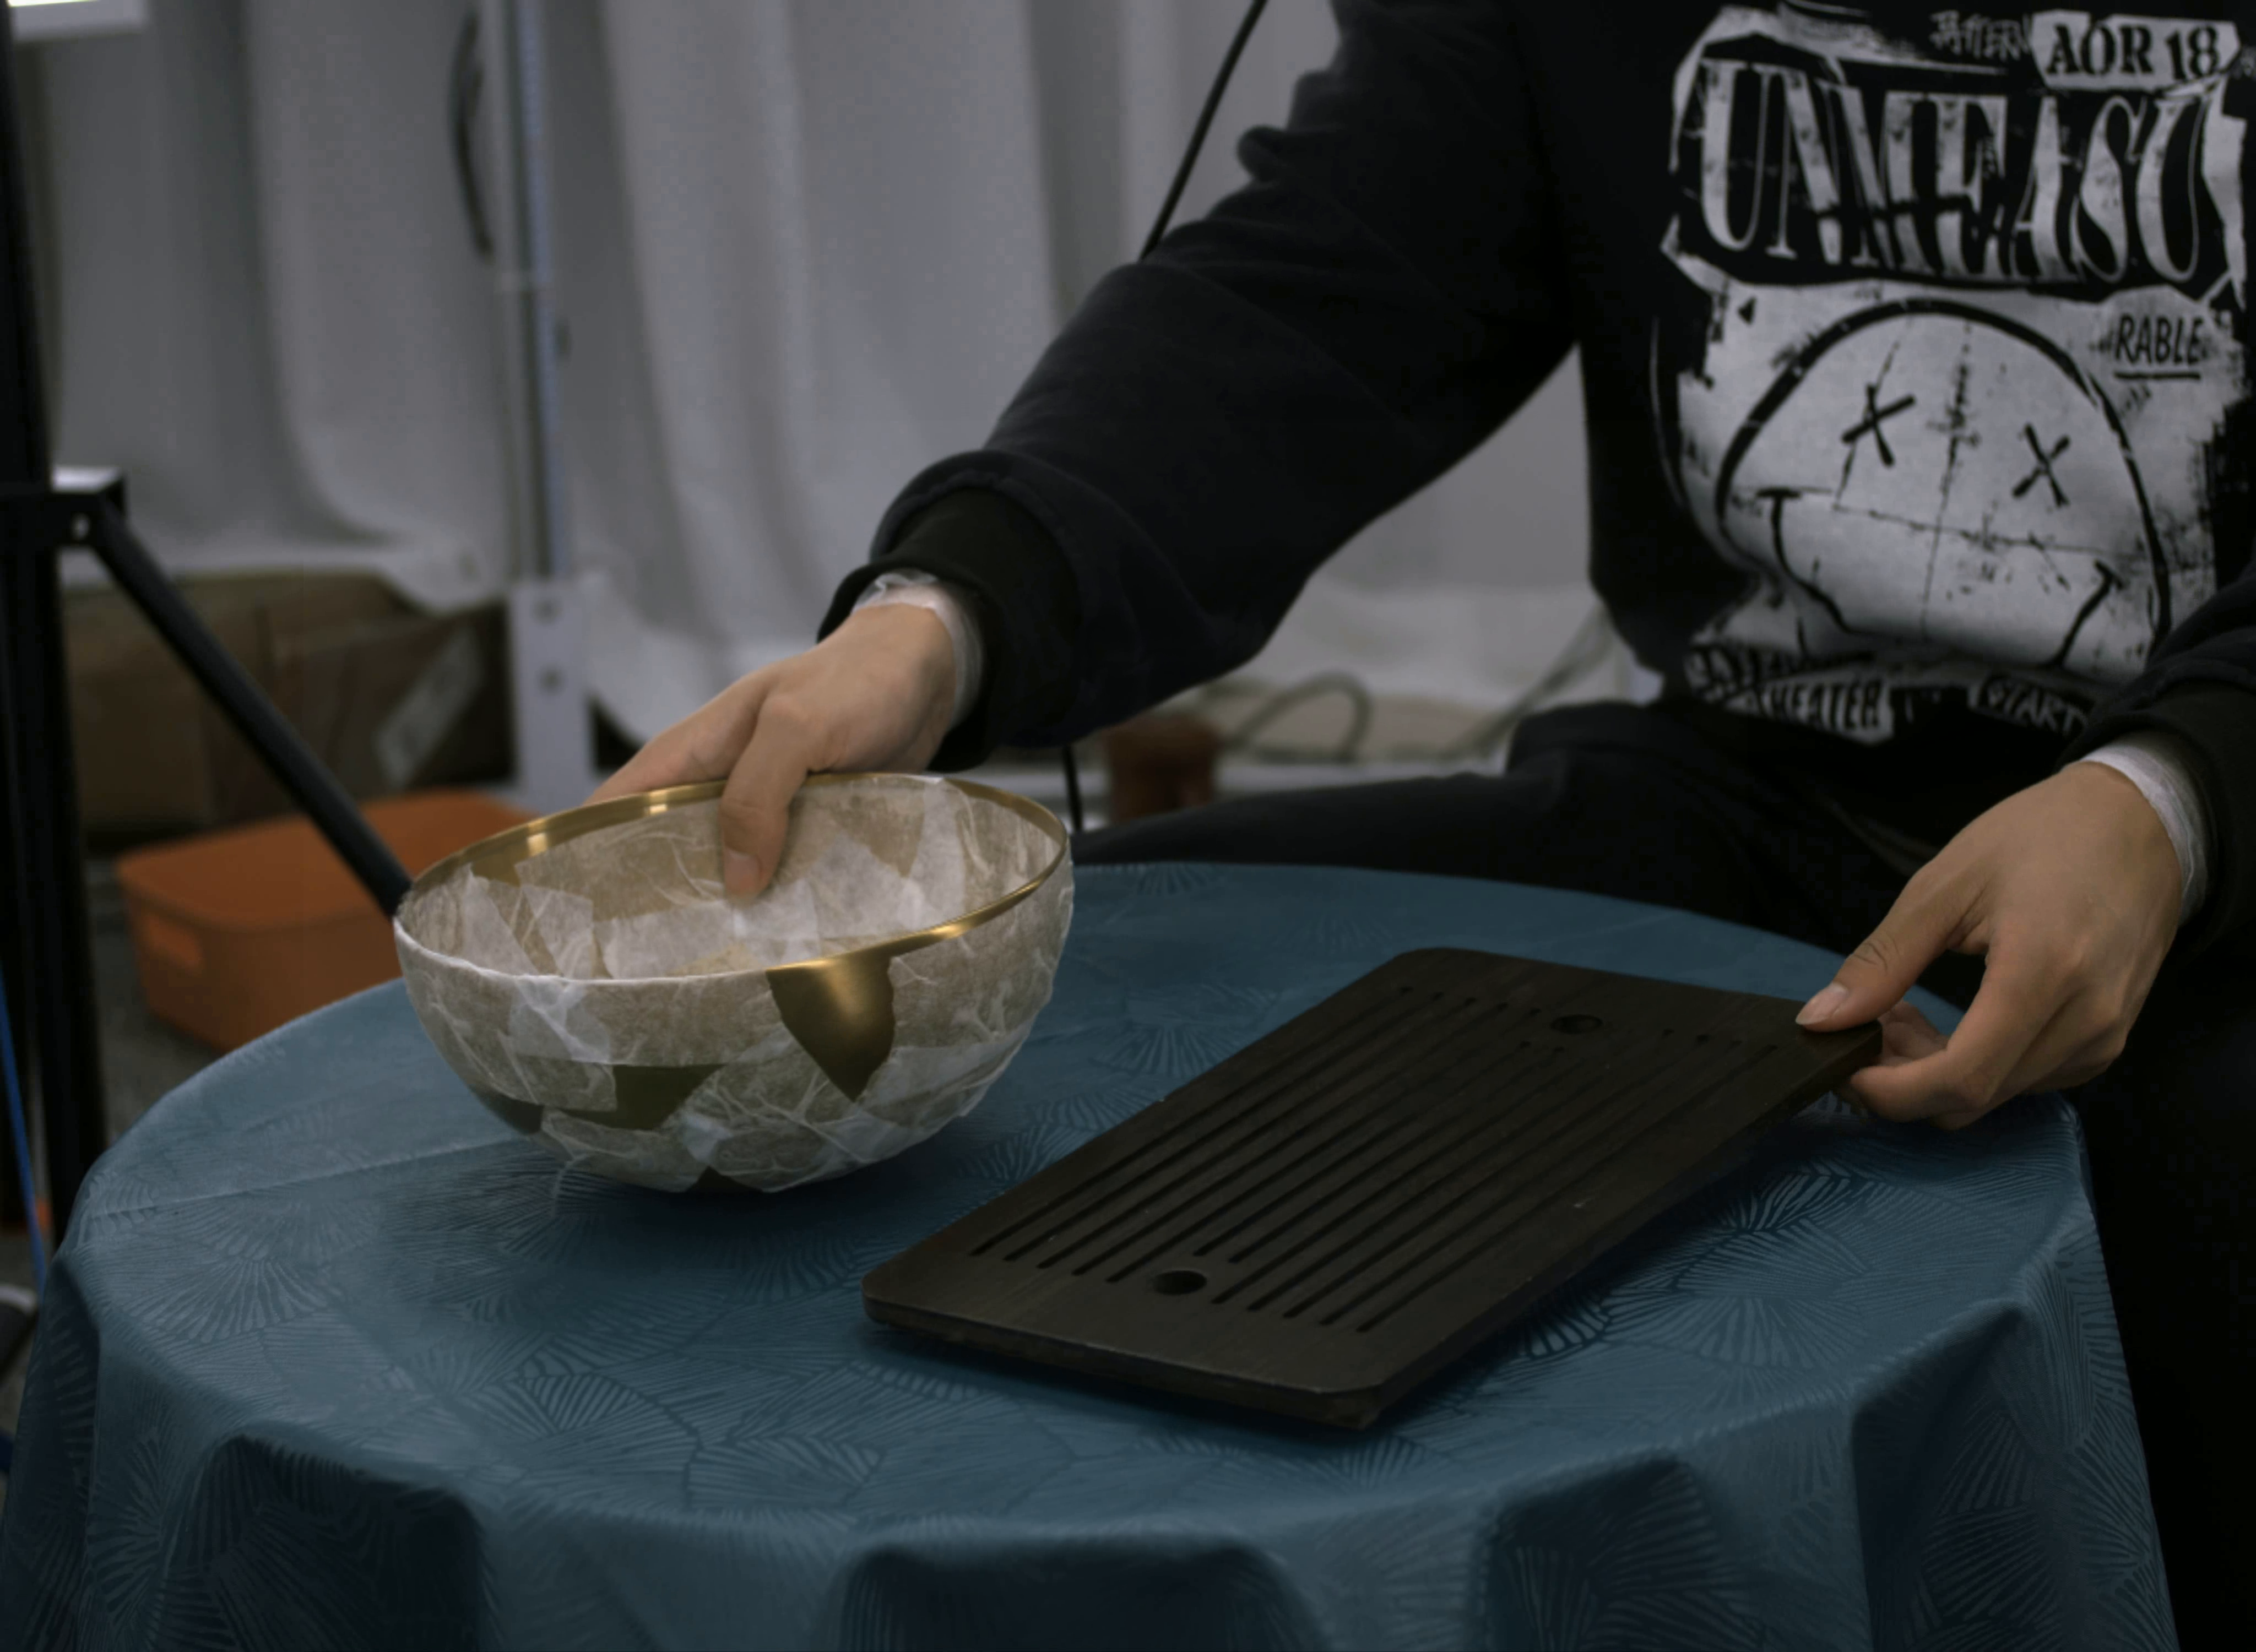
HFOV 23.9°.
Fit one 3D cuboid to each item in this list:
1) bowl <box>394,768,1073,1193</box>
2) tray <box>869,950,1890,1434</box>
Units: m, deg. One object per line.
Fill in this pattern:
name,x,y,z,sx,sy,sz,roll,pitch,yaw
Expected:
bowl,-0.109,0.054,1.589,0.214,0.094,0.216,-7,16,1
tray,0.078,0.101,1.512,0.173,0.018,0.300,8,22,35
